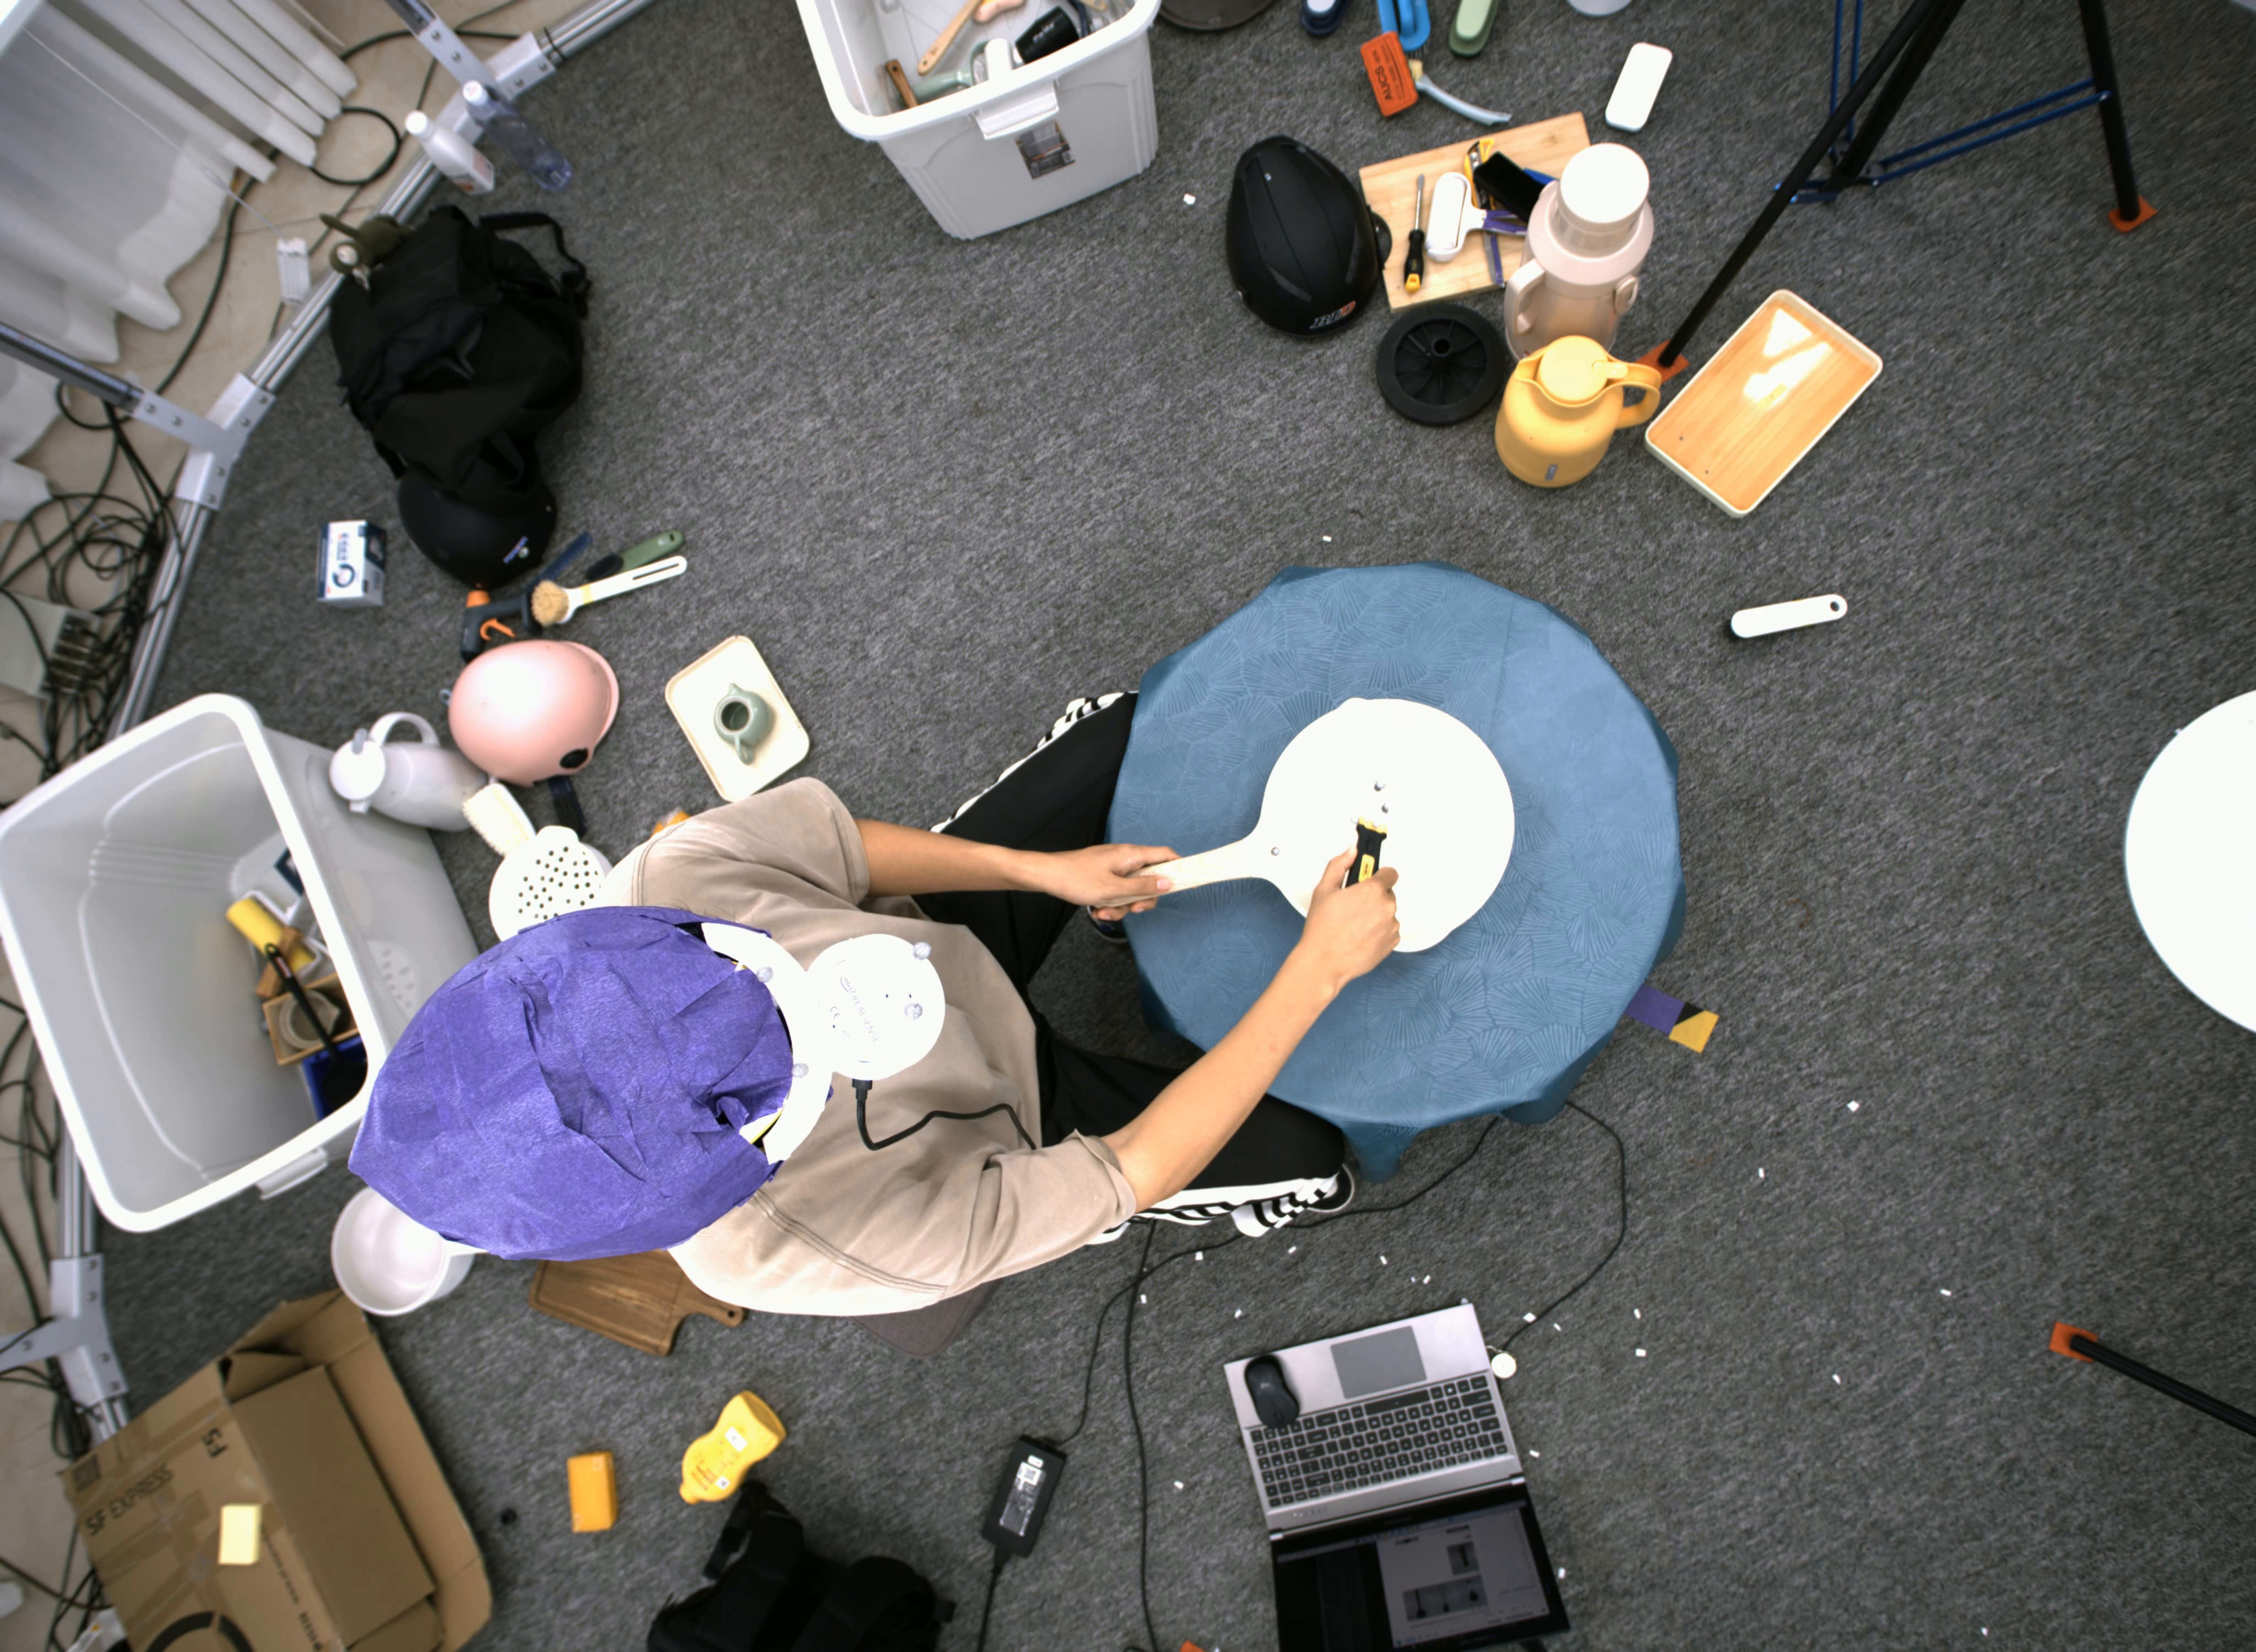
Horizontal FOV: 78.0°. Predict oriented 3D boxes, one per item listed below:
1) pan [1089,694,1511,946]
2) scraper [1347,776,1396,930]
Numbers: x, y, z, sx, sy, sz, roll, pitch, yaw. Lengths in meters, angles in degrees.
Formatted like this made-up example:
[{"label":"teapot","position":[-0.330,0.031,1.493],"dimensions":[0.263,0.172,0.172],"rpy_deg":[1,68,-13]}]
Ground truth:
[{"label":"pan","position":[0.175,0.018,1.435],"dimensions":[0.437,0.102,0.262],"rpy_deg":[-16,86,9]},{"label":"scraper","position":[0.240,0.025,1.361],"dimensions":[0.039,0.015,0.167],"rpy_deg":[21,60,-13]}]
